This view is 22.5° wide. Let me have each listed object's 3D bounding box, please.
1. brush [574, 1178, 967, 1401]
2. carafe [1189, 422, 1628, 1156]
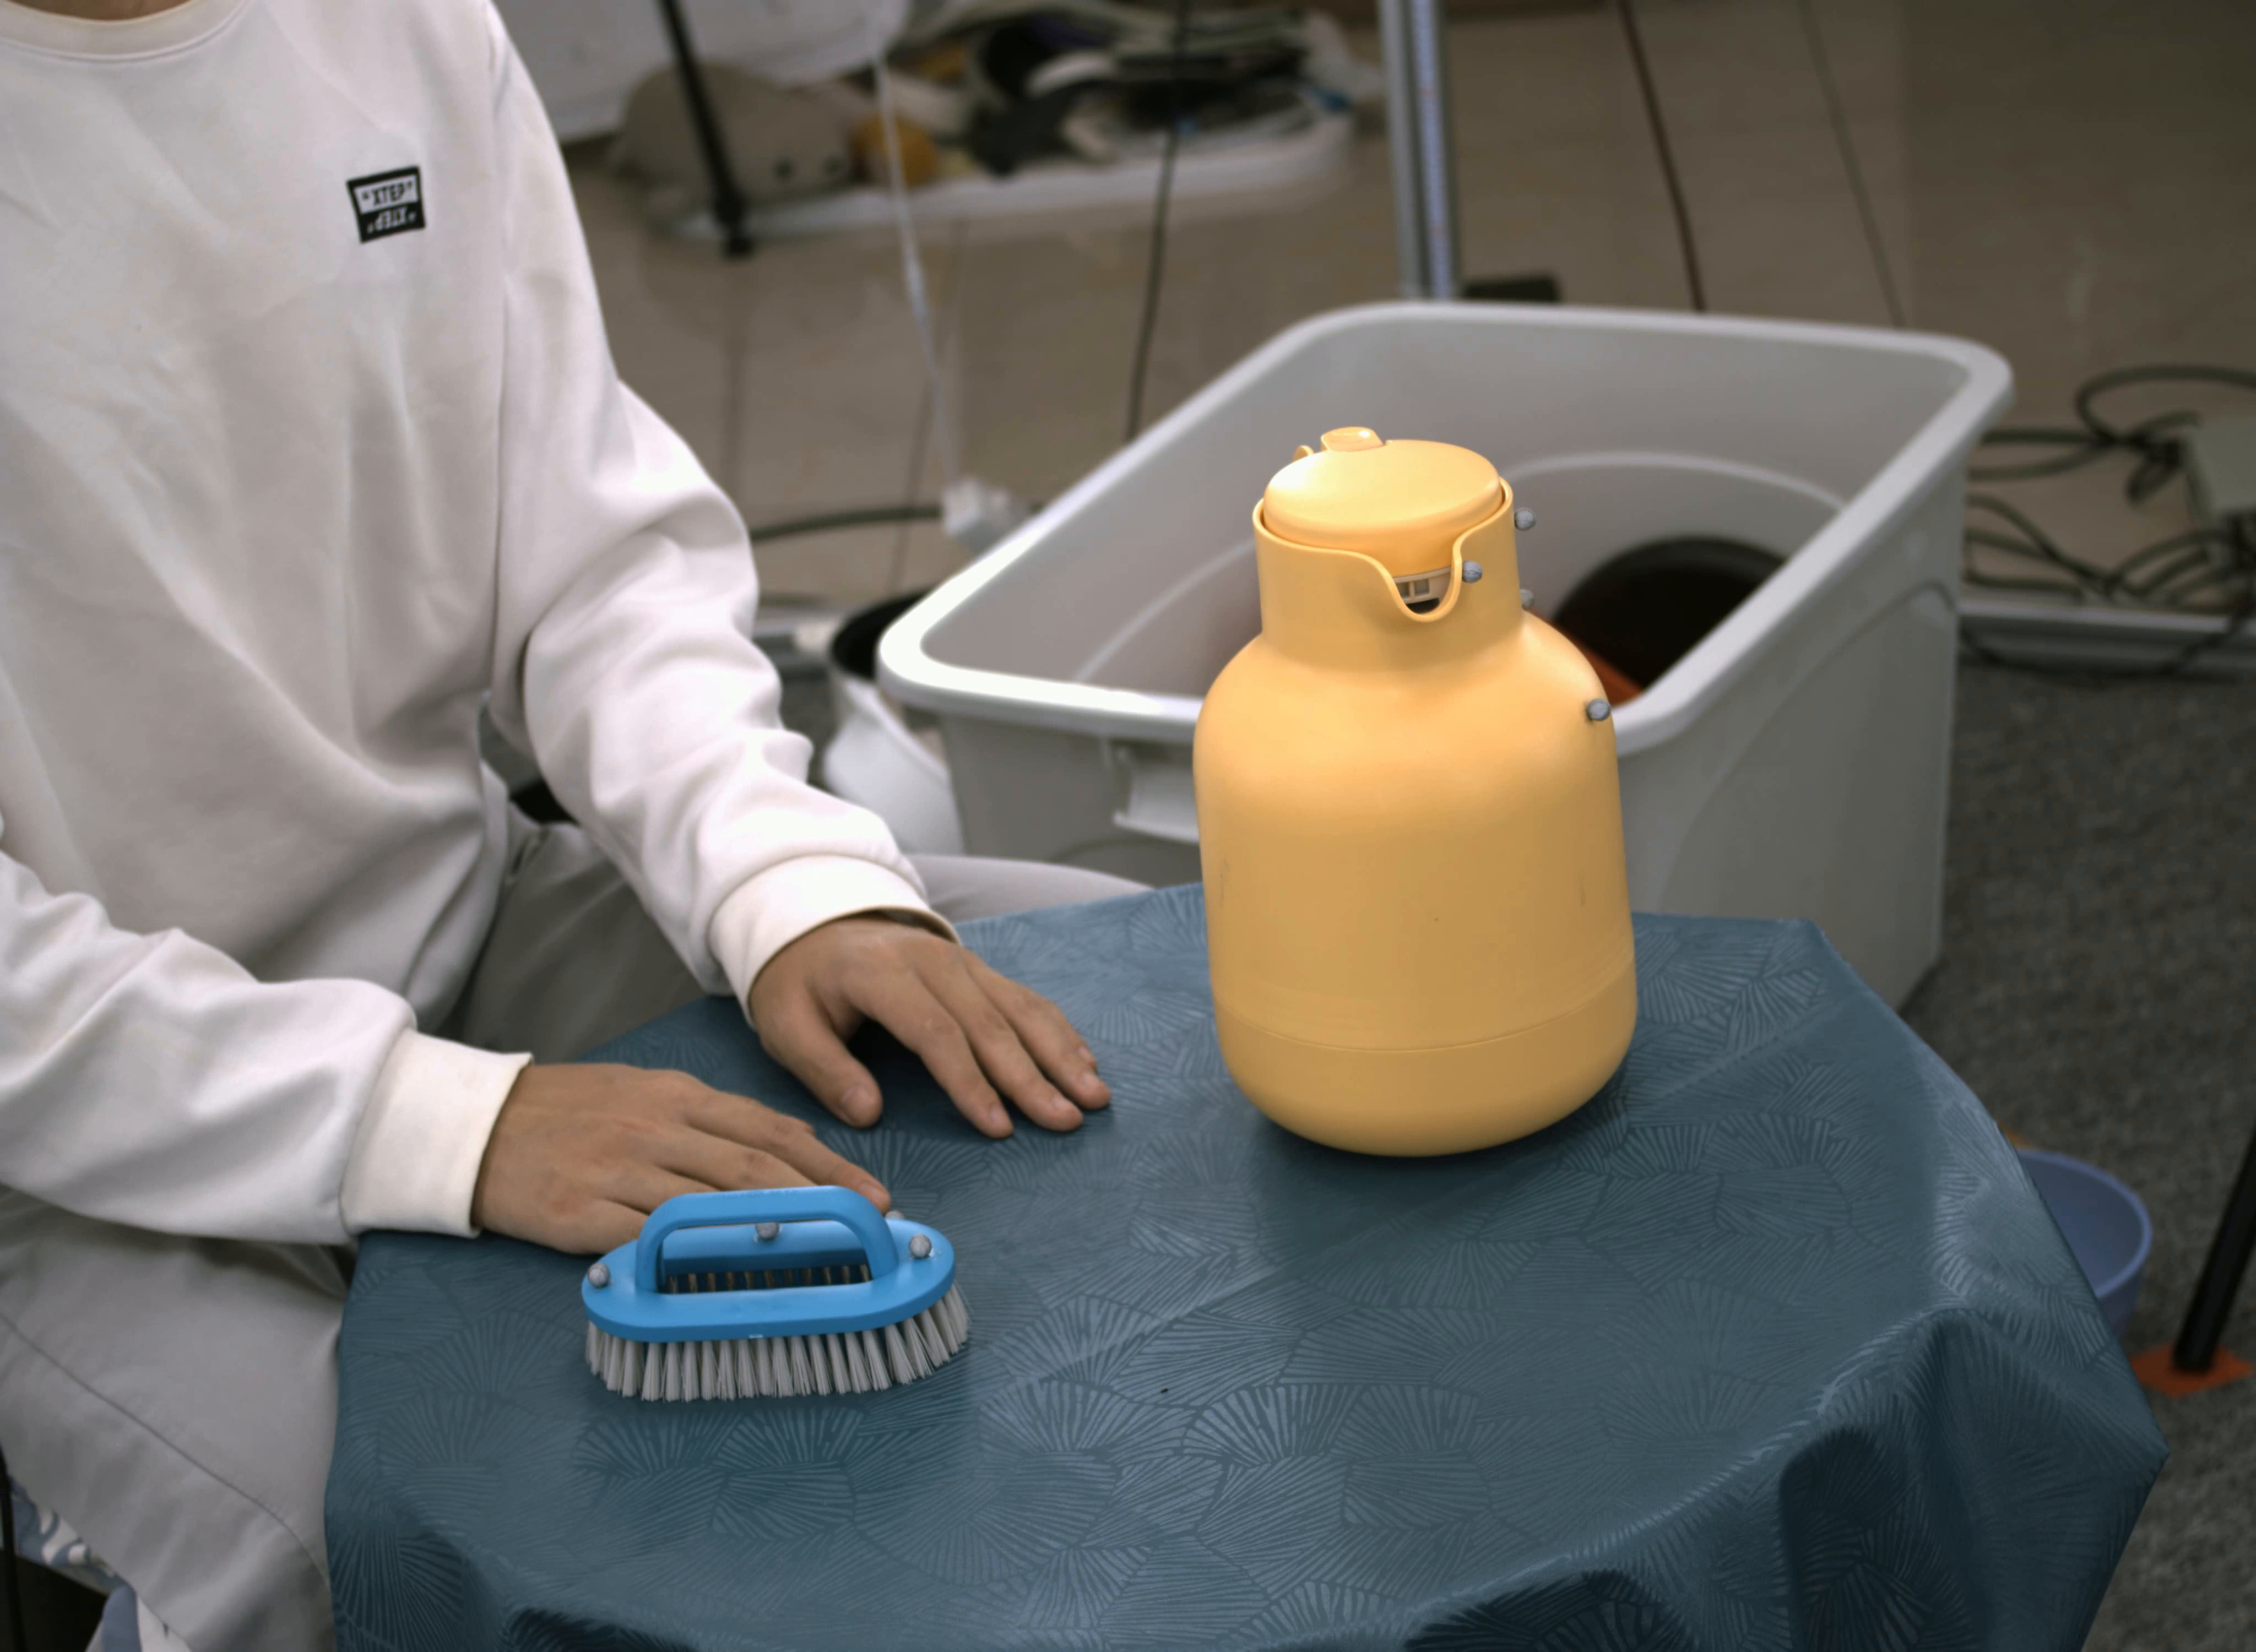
[{"bbox_3d":[-0.132,0.159,2.055,0.141,0.065,0.083,-3,31,9],"label":"brush"},{"bbox_3d":[0.102,-0.024,2.157,0.163,0.265,0.199,-7,27,-6],"label":"carafe"}]
